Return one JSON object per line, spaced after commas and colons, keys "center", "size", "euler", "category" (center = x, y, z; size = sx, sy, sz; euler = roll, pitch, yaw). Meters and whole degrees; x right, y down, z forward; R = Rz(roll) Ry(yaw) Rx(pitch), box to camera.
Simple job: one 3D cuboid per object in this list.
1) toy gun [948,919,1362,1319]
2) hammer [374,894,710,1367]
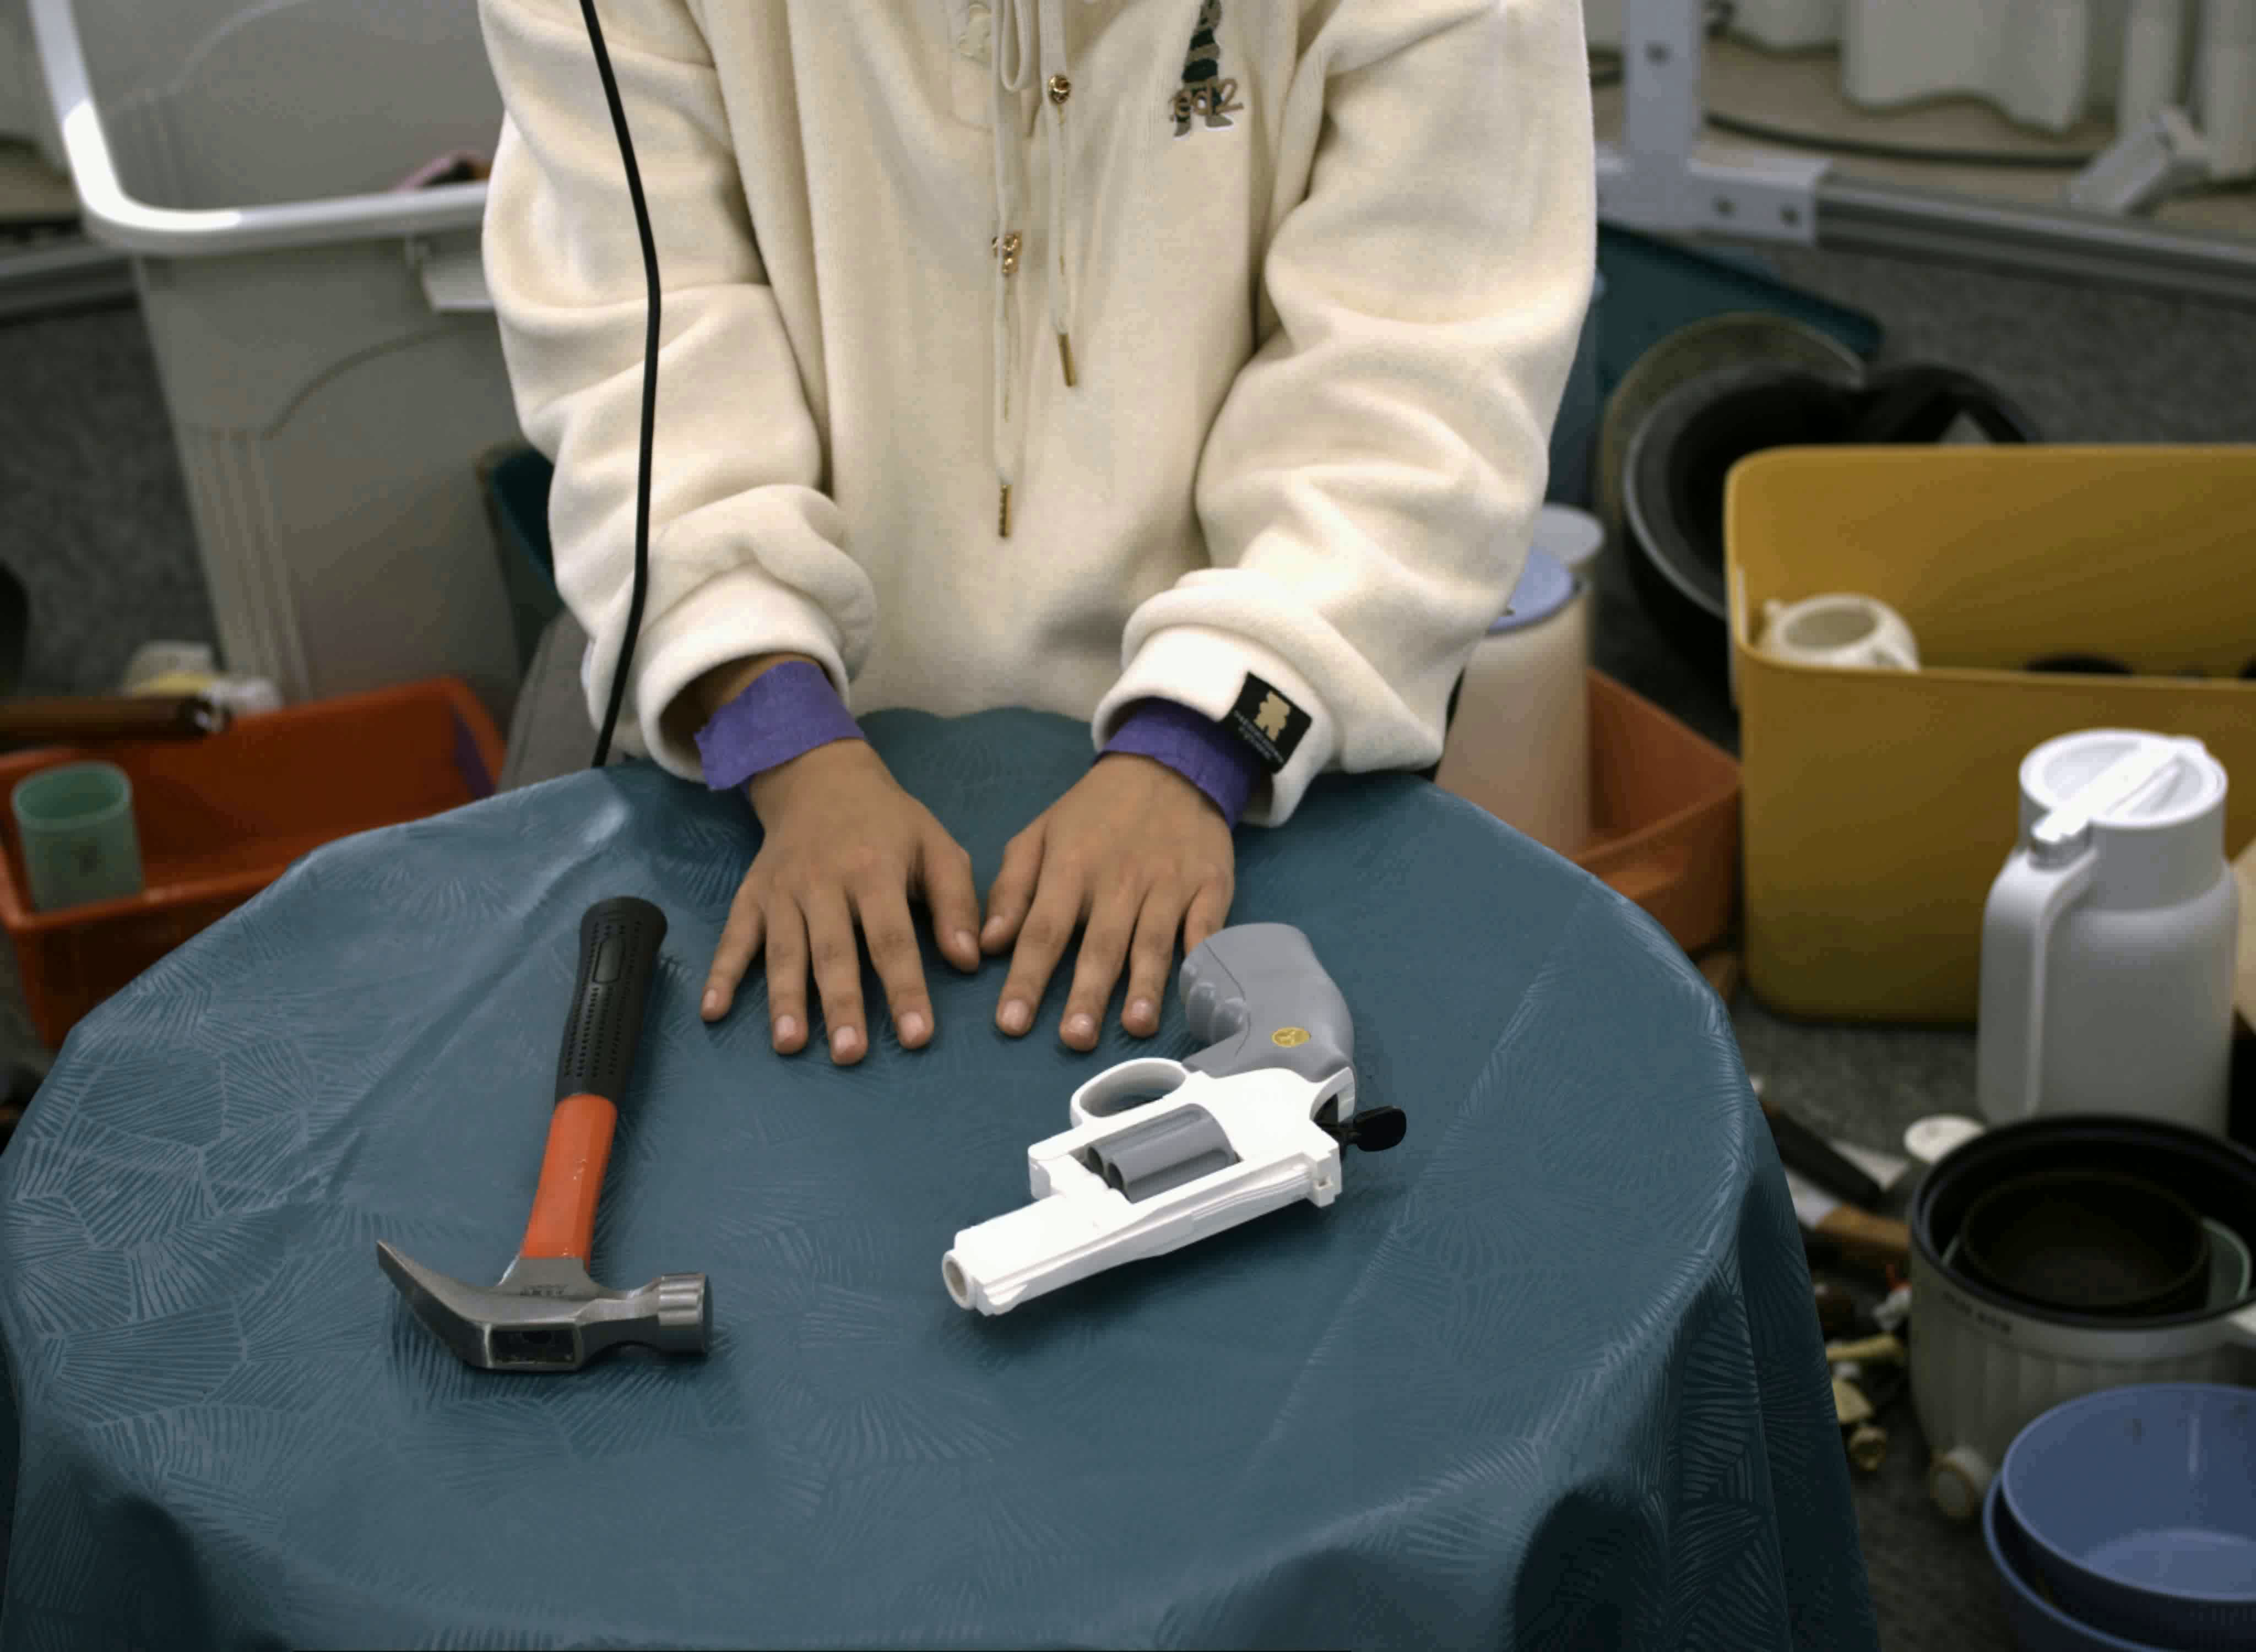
{"center": [0.007, 0.097, 1.866], "size": [0.211, 0.038, 0.142], "euler": [-20, 33, -29], "category": "toy gun"}
{"center": [-0.185, 0.098, 1.894], "size": [0.110, 0.026, 0.281], "euler": [-10, 26, 7], "category": "hammer"}
